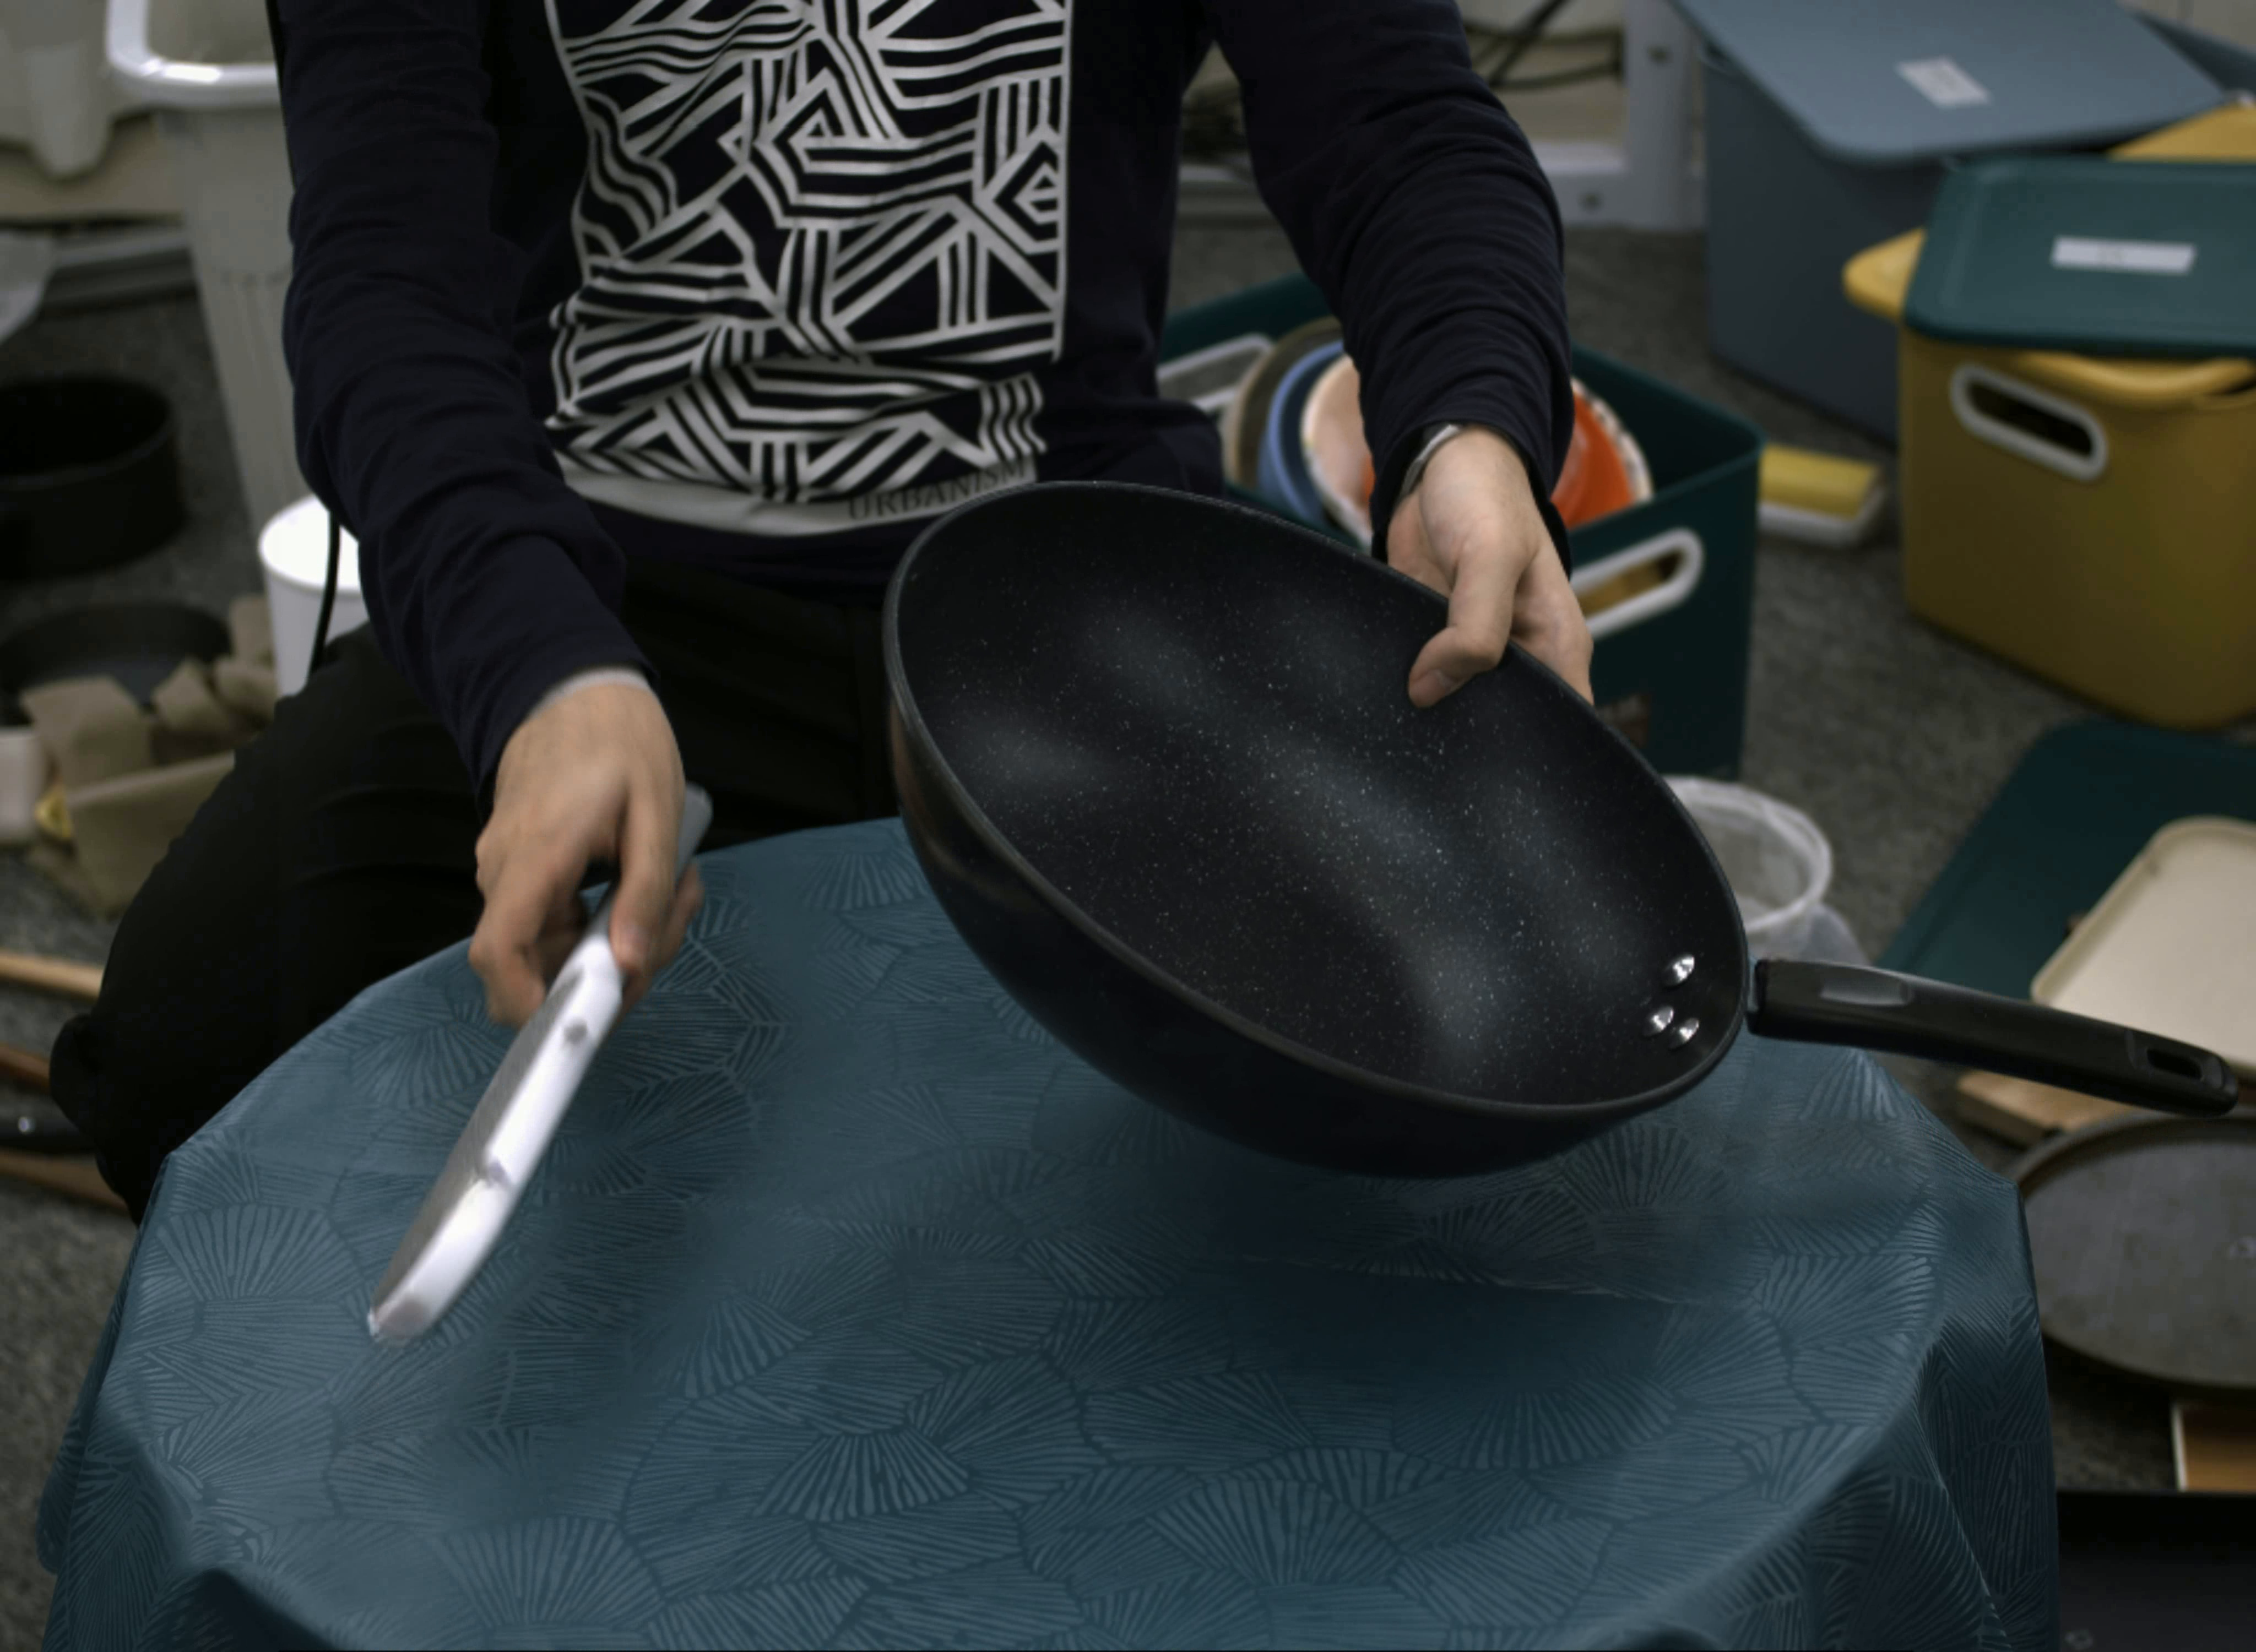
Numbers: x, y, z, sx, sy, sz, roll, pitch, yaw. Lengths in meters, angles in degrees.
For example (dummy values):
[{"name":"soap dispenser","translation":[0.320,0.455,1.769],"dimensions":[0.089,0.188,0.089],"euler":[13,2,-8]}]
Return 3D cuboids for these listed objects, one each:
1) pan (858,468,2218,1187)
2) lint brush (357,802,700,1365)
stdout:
[{"name":"pan","translation":[0.120,0.038,1.829],"dimensions":[0.475,0.110,0.316],"euler":[23,32,-11]},{"name":"lint brush","translation":[-0.190,0.076,1.838],"dimensions":[0.021,0.059,0.314],"euler":[37,31,-10]}]
